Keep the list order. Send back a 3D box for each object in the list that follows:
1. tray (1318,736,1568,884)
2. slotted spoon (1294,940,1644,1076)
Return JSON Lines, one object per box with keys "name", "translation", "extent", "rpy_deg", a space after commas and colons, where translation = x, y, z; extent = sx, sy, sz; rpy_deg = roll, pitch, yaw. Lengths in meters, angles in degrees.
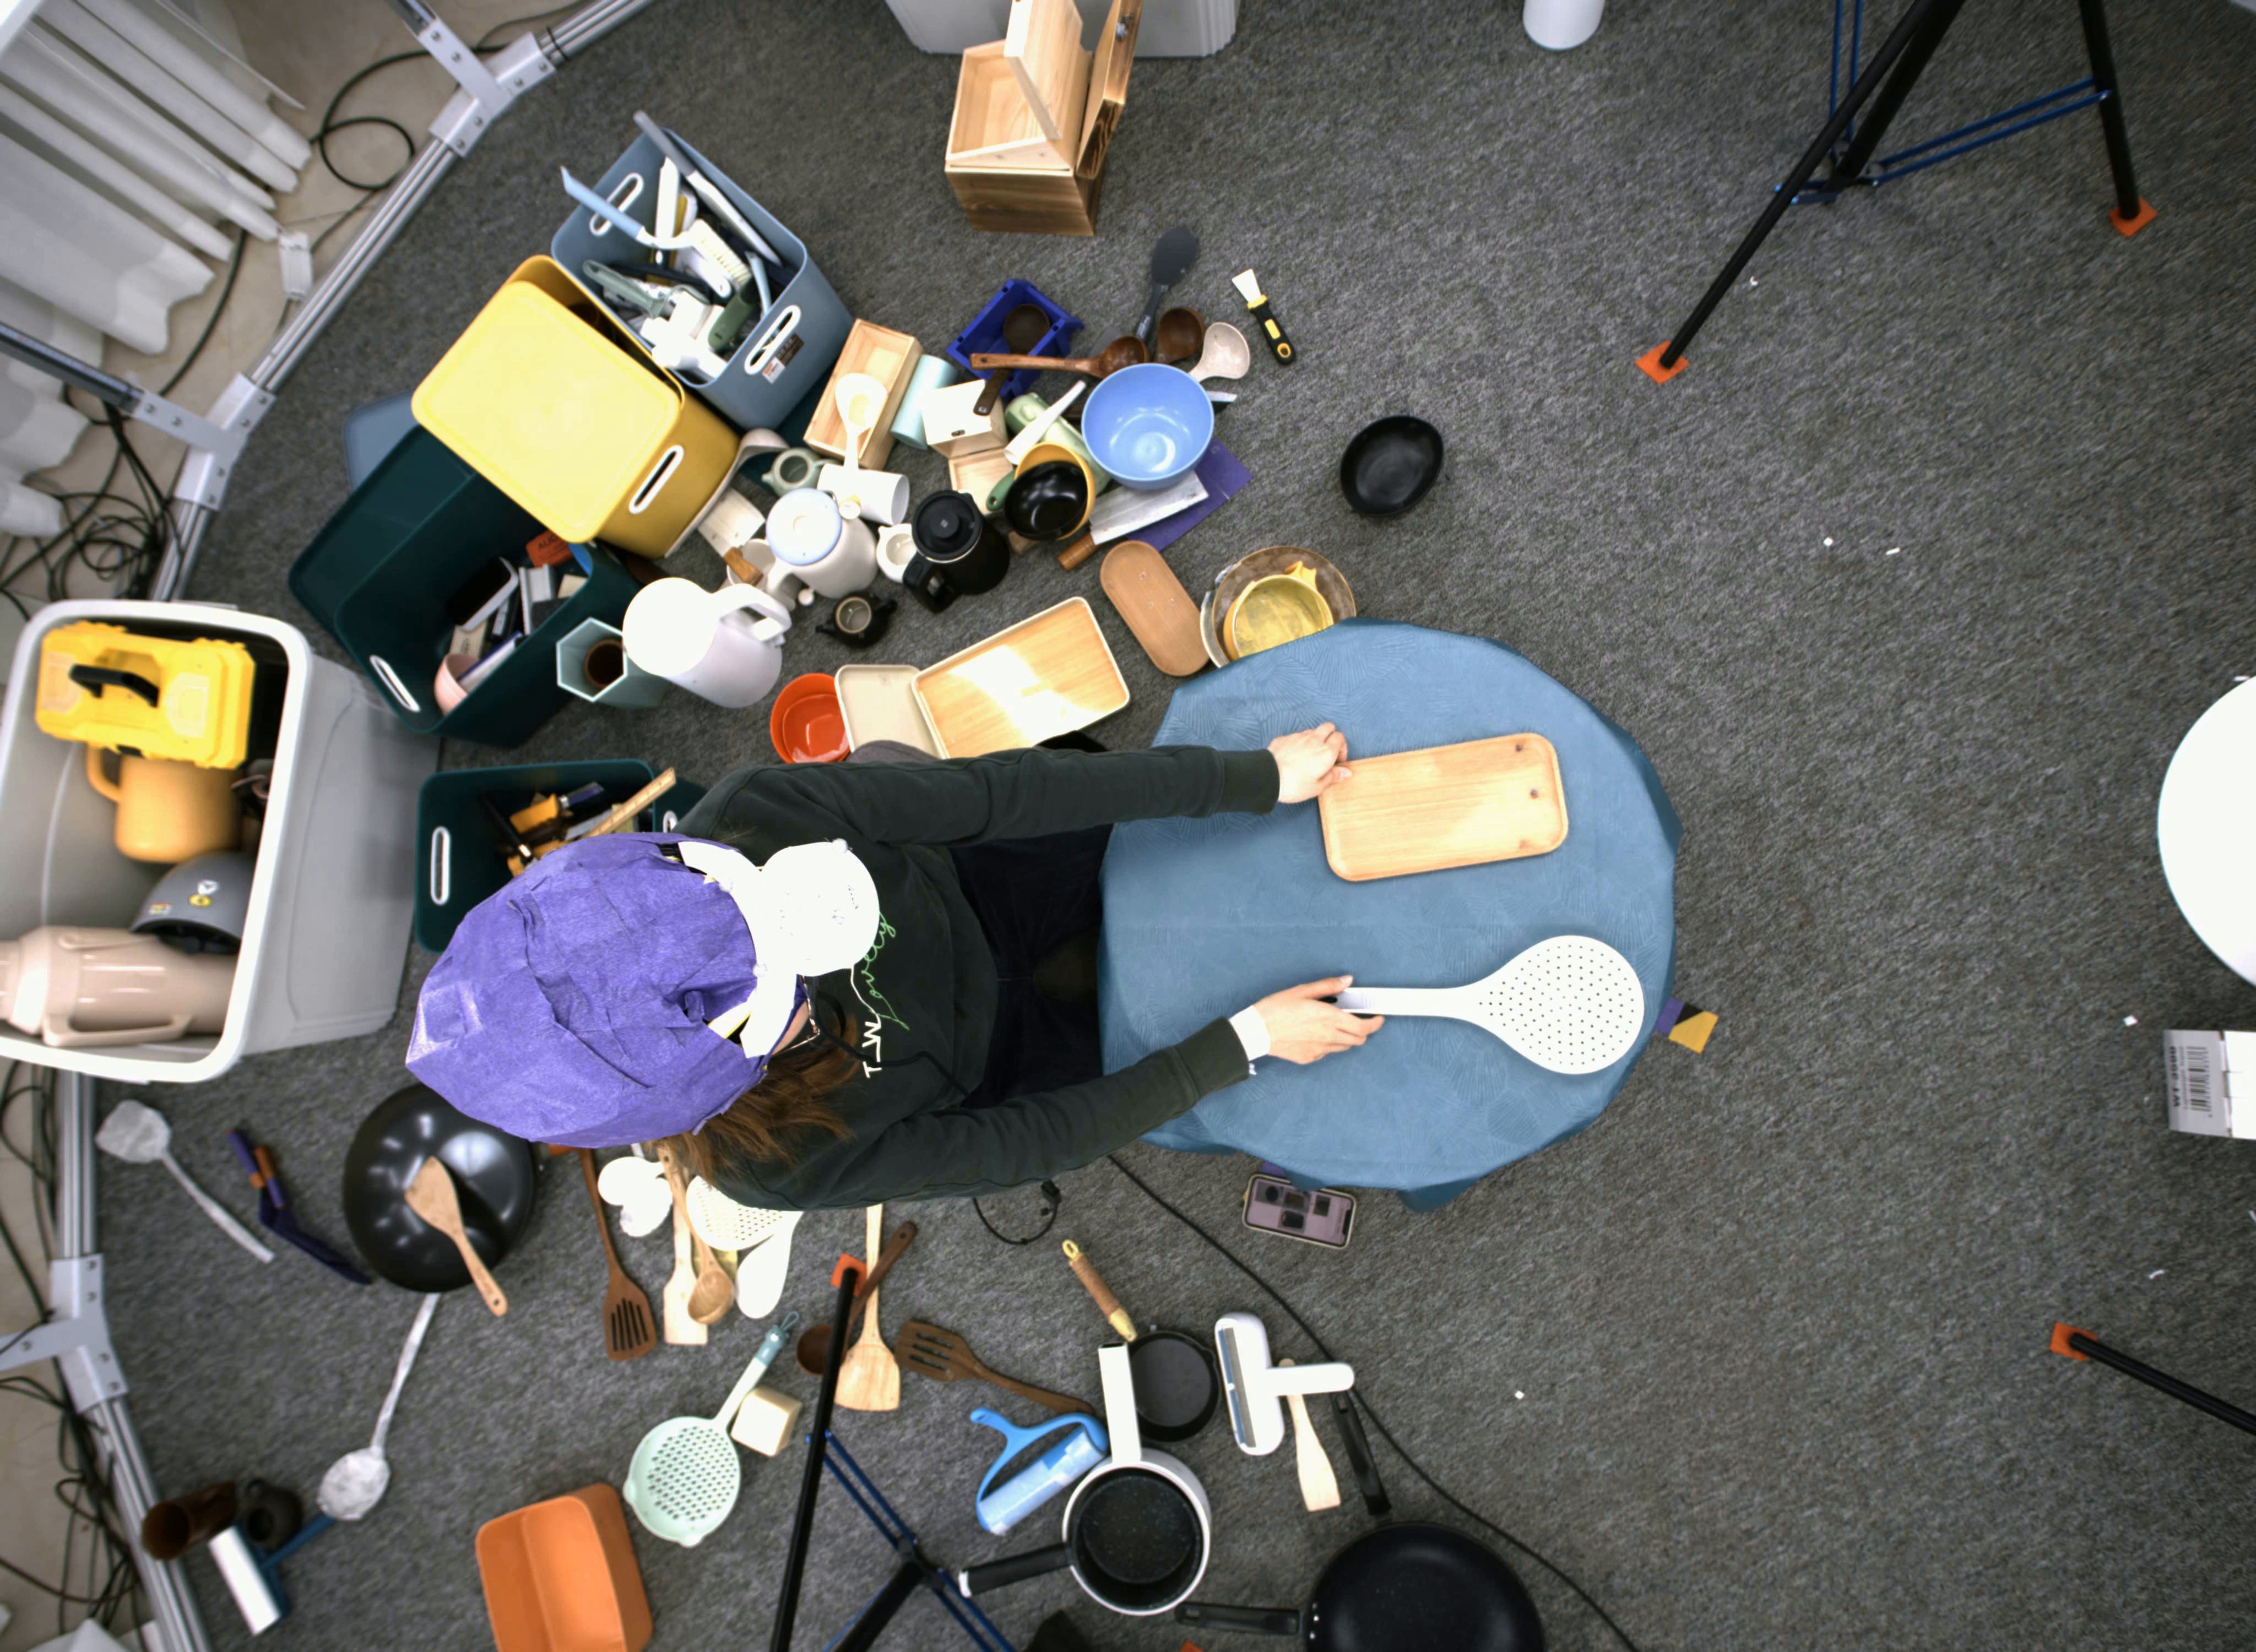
{"name": "tray", "translation": [0.330, -0.018, 1.450], "extent": [0.252, 0.023, 0.129], "rpy_deg": [-9, 84, 10]}
{"name": "slotted spoon", "translation": [0.346, 0.182, 1.420], "extent": [0.351, 0.046, 0.135], "rpy_deg": [0, 82, 11]}
